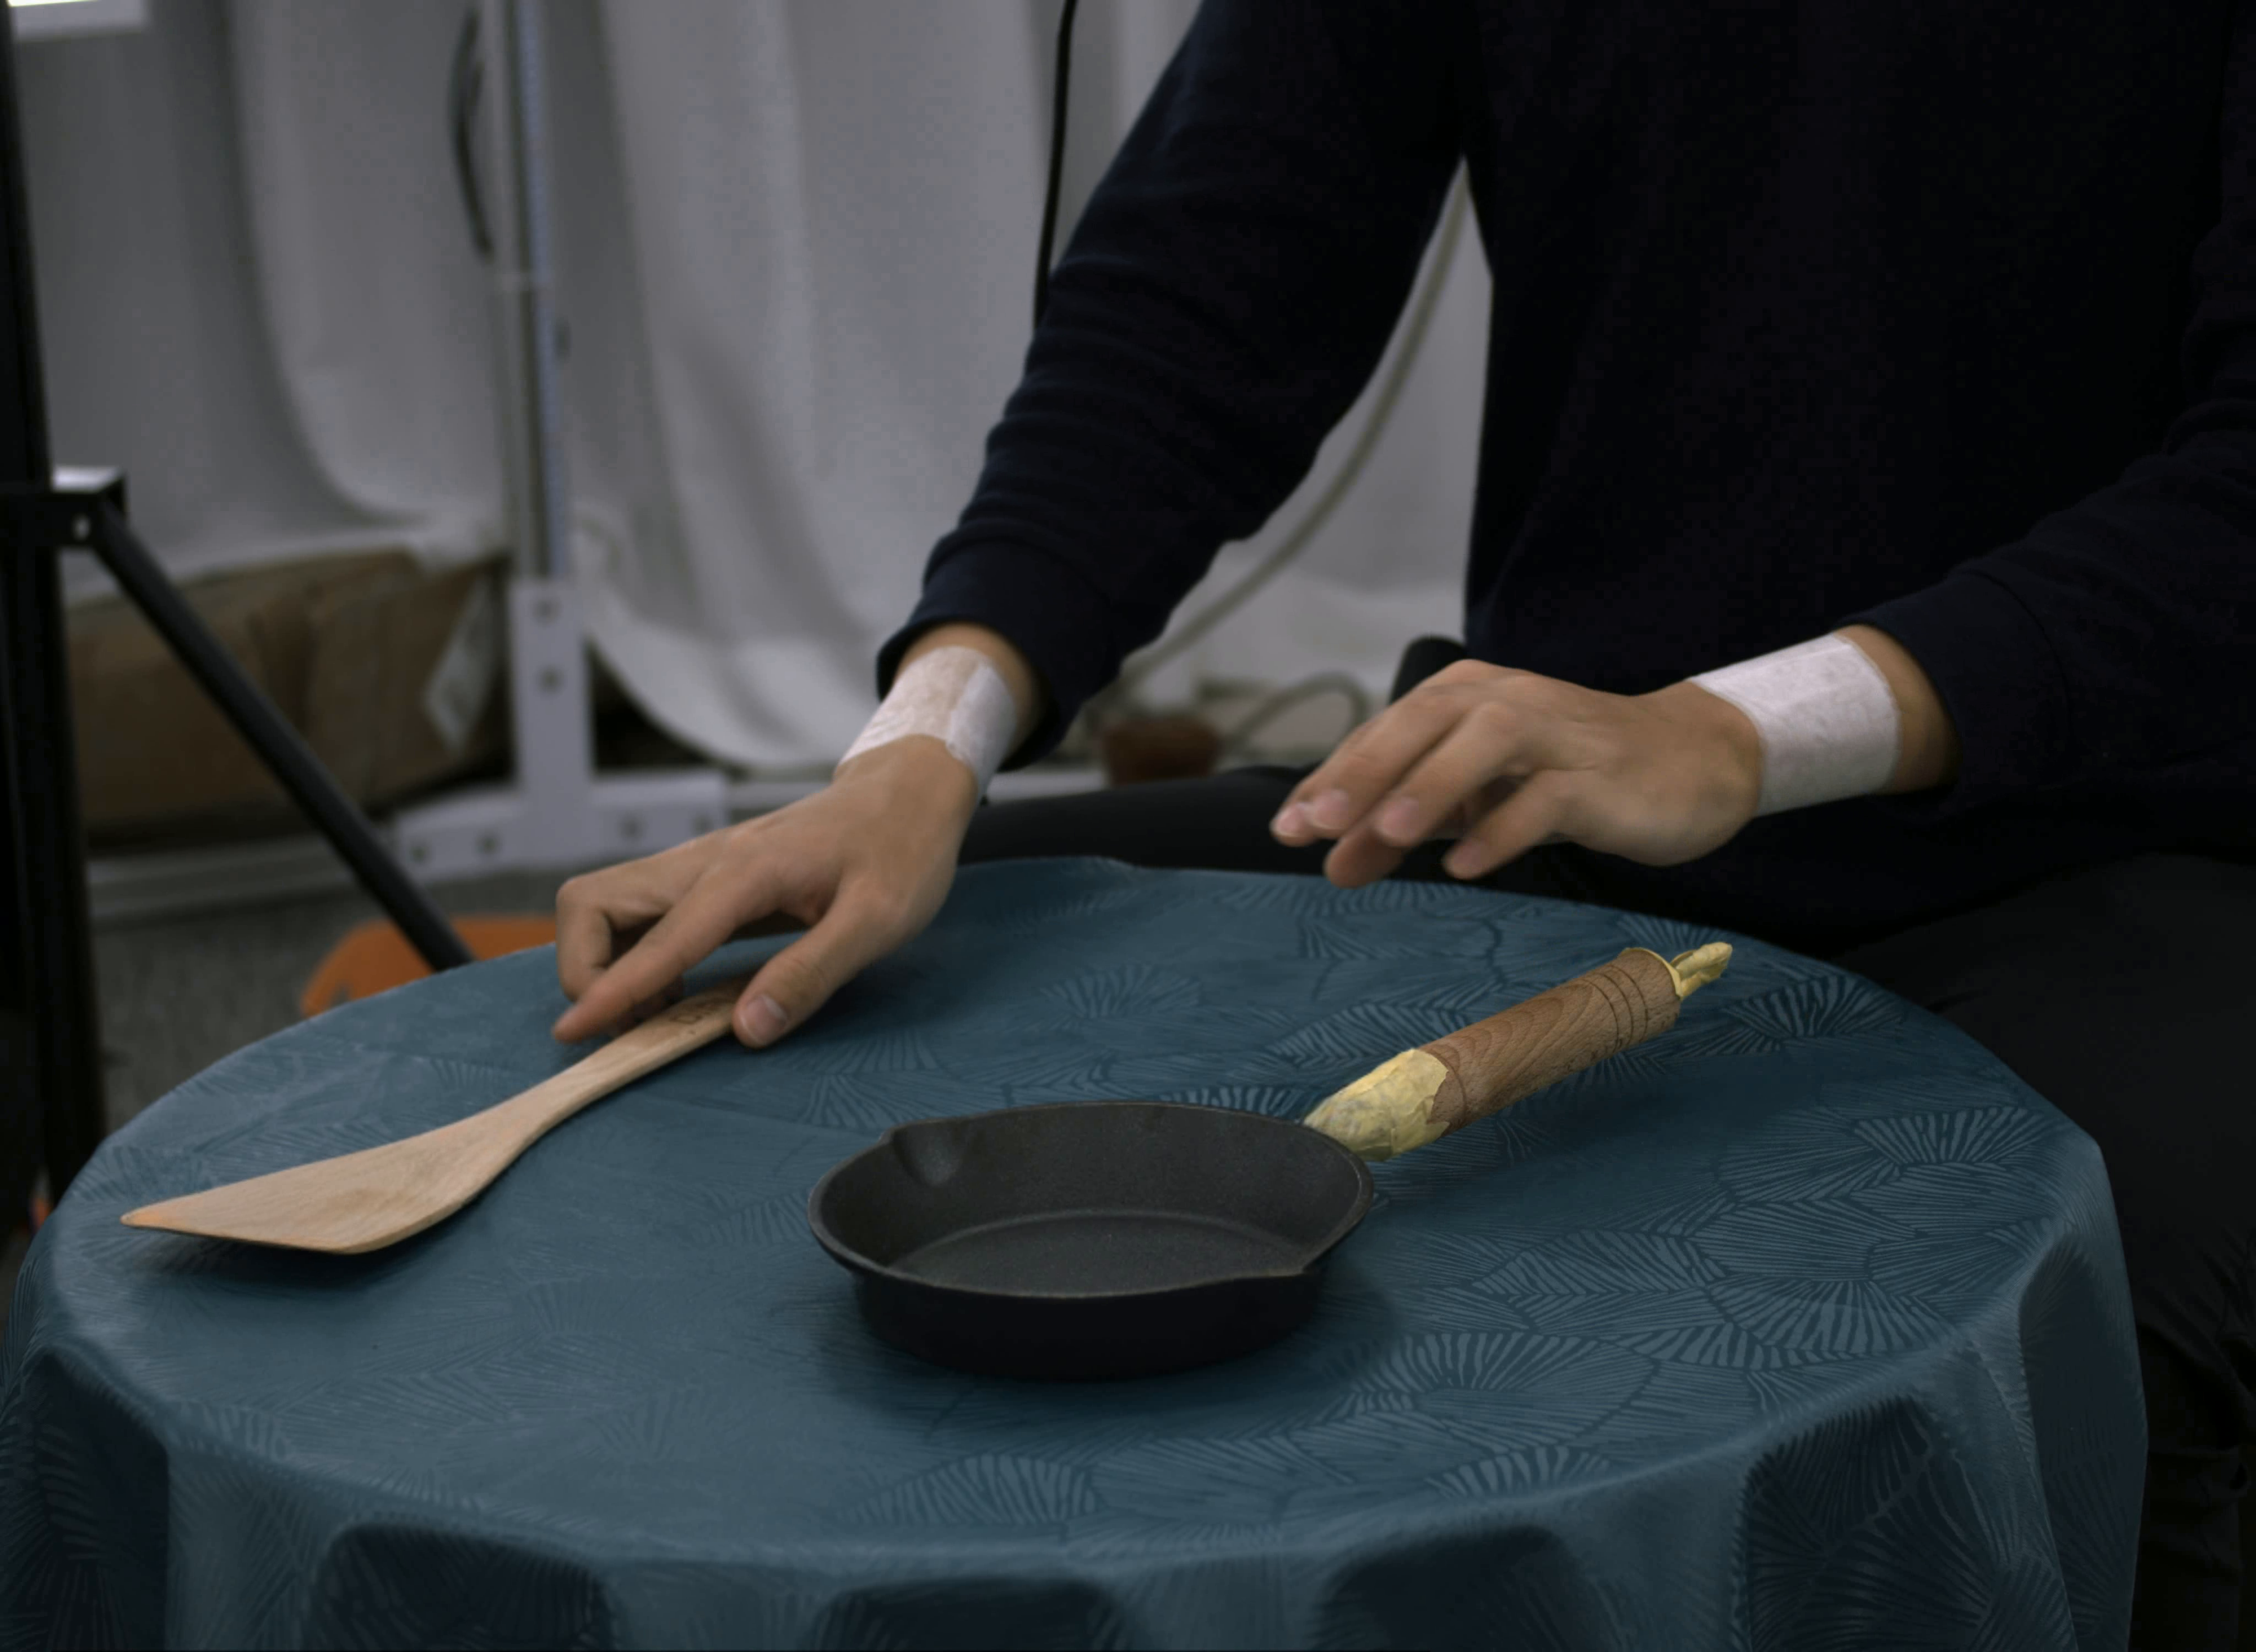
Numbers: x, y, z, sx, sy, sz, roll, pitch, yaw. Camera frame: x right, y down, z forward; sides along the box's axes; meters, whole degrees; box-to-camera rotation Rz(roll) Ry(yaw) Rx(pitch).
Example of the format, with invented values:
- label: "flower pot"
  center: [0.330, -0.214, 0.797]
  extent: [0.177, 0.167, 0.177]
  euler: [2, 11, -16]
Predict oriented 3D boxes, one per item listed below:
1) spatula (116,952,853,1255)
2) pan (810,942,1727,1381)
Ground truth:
- label: "spatula"
  center: [-0.179, 0.082, 1.649]
  extent: [0.081, 0.016, 0.321]
  euler: [8, 19, 30]
- label: "pan"
  center: [0.056, 0.091, 1.514]
  extent: [0.317, 0.049, 0.173]
  euler: [-16, 20, -34]
